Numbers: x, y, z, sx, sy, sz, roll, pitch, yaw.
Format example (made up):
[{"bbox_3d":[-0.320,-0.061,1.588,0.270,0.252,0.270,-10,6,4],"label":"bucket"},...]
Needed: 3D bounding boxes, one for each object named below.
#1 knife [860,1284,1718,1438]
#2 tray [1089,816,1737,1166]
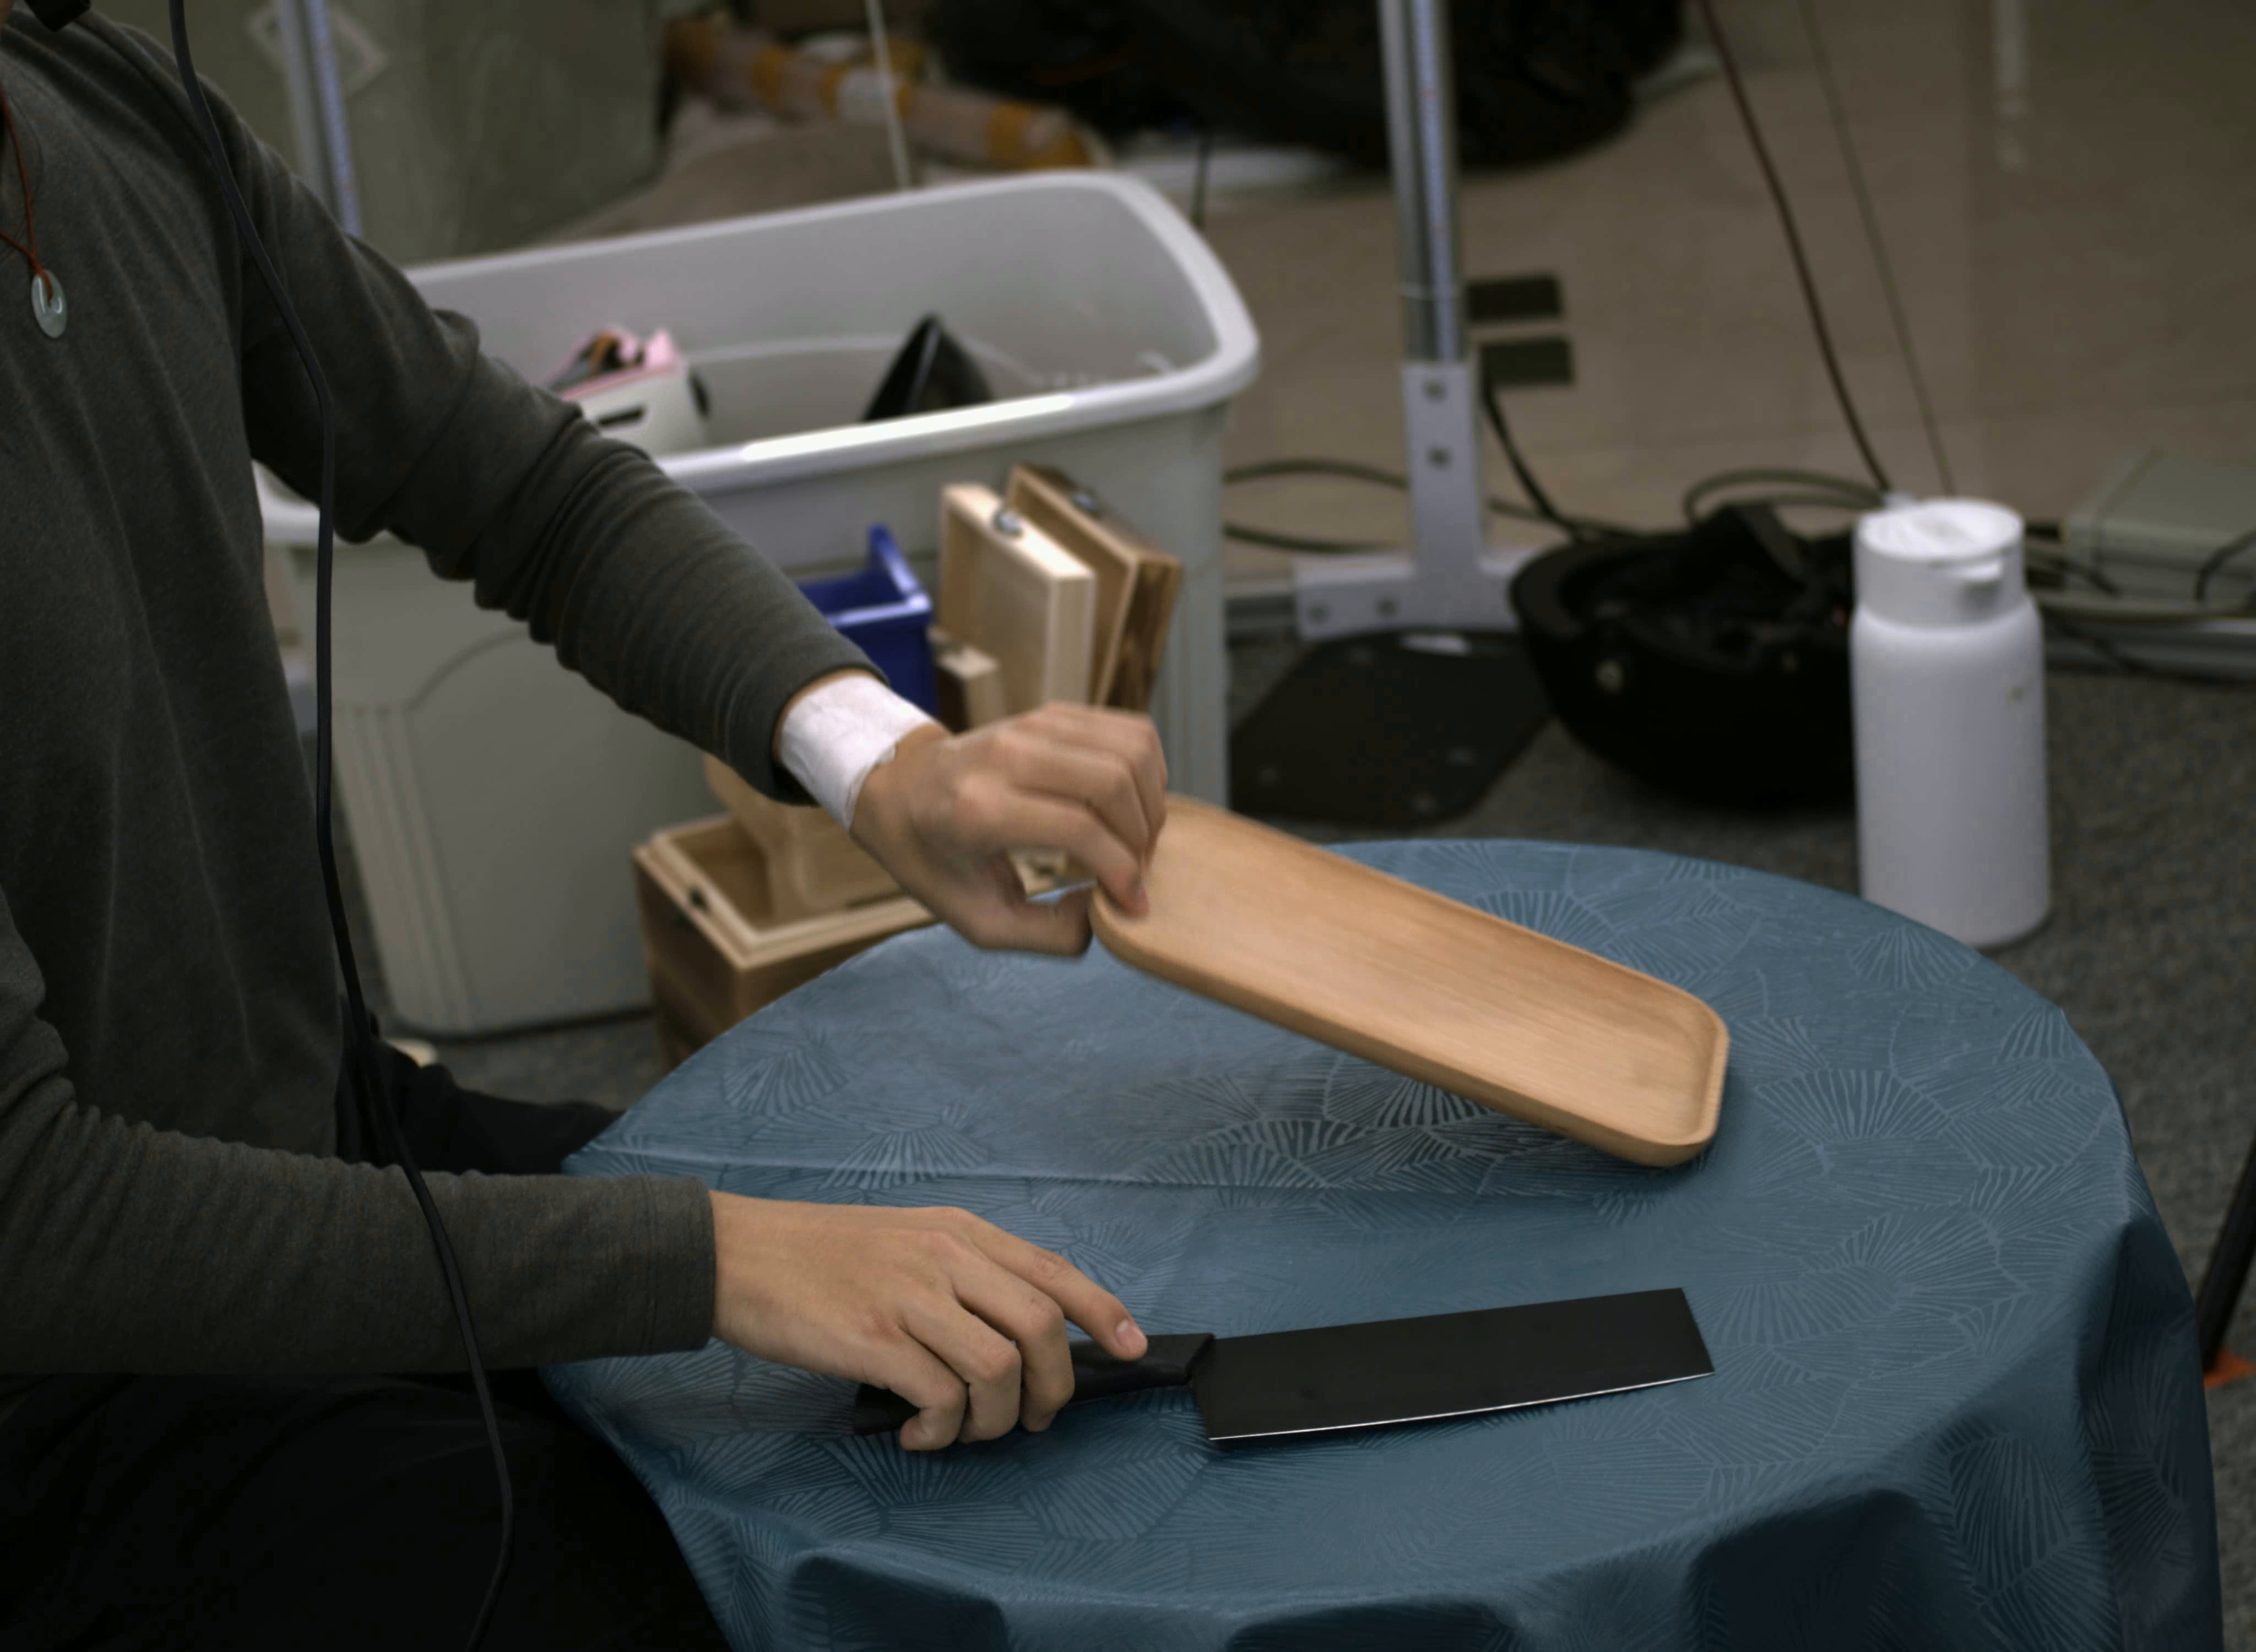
[{"bbox_3d":[0.056,0.193,2.004,0.302,0.021,0.079,-5,26,0],"label":"knife"},{"bbox_3d":[0.109,0.063,2.161,0.250,0.023,0.129,18,25,1],"label":"tray"}]
